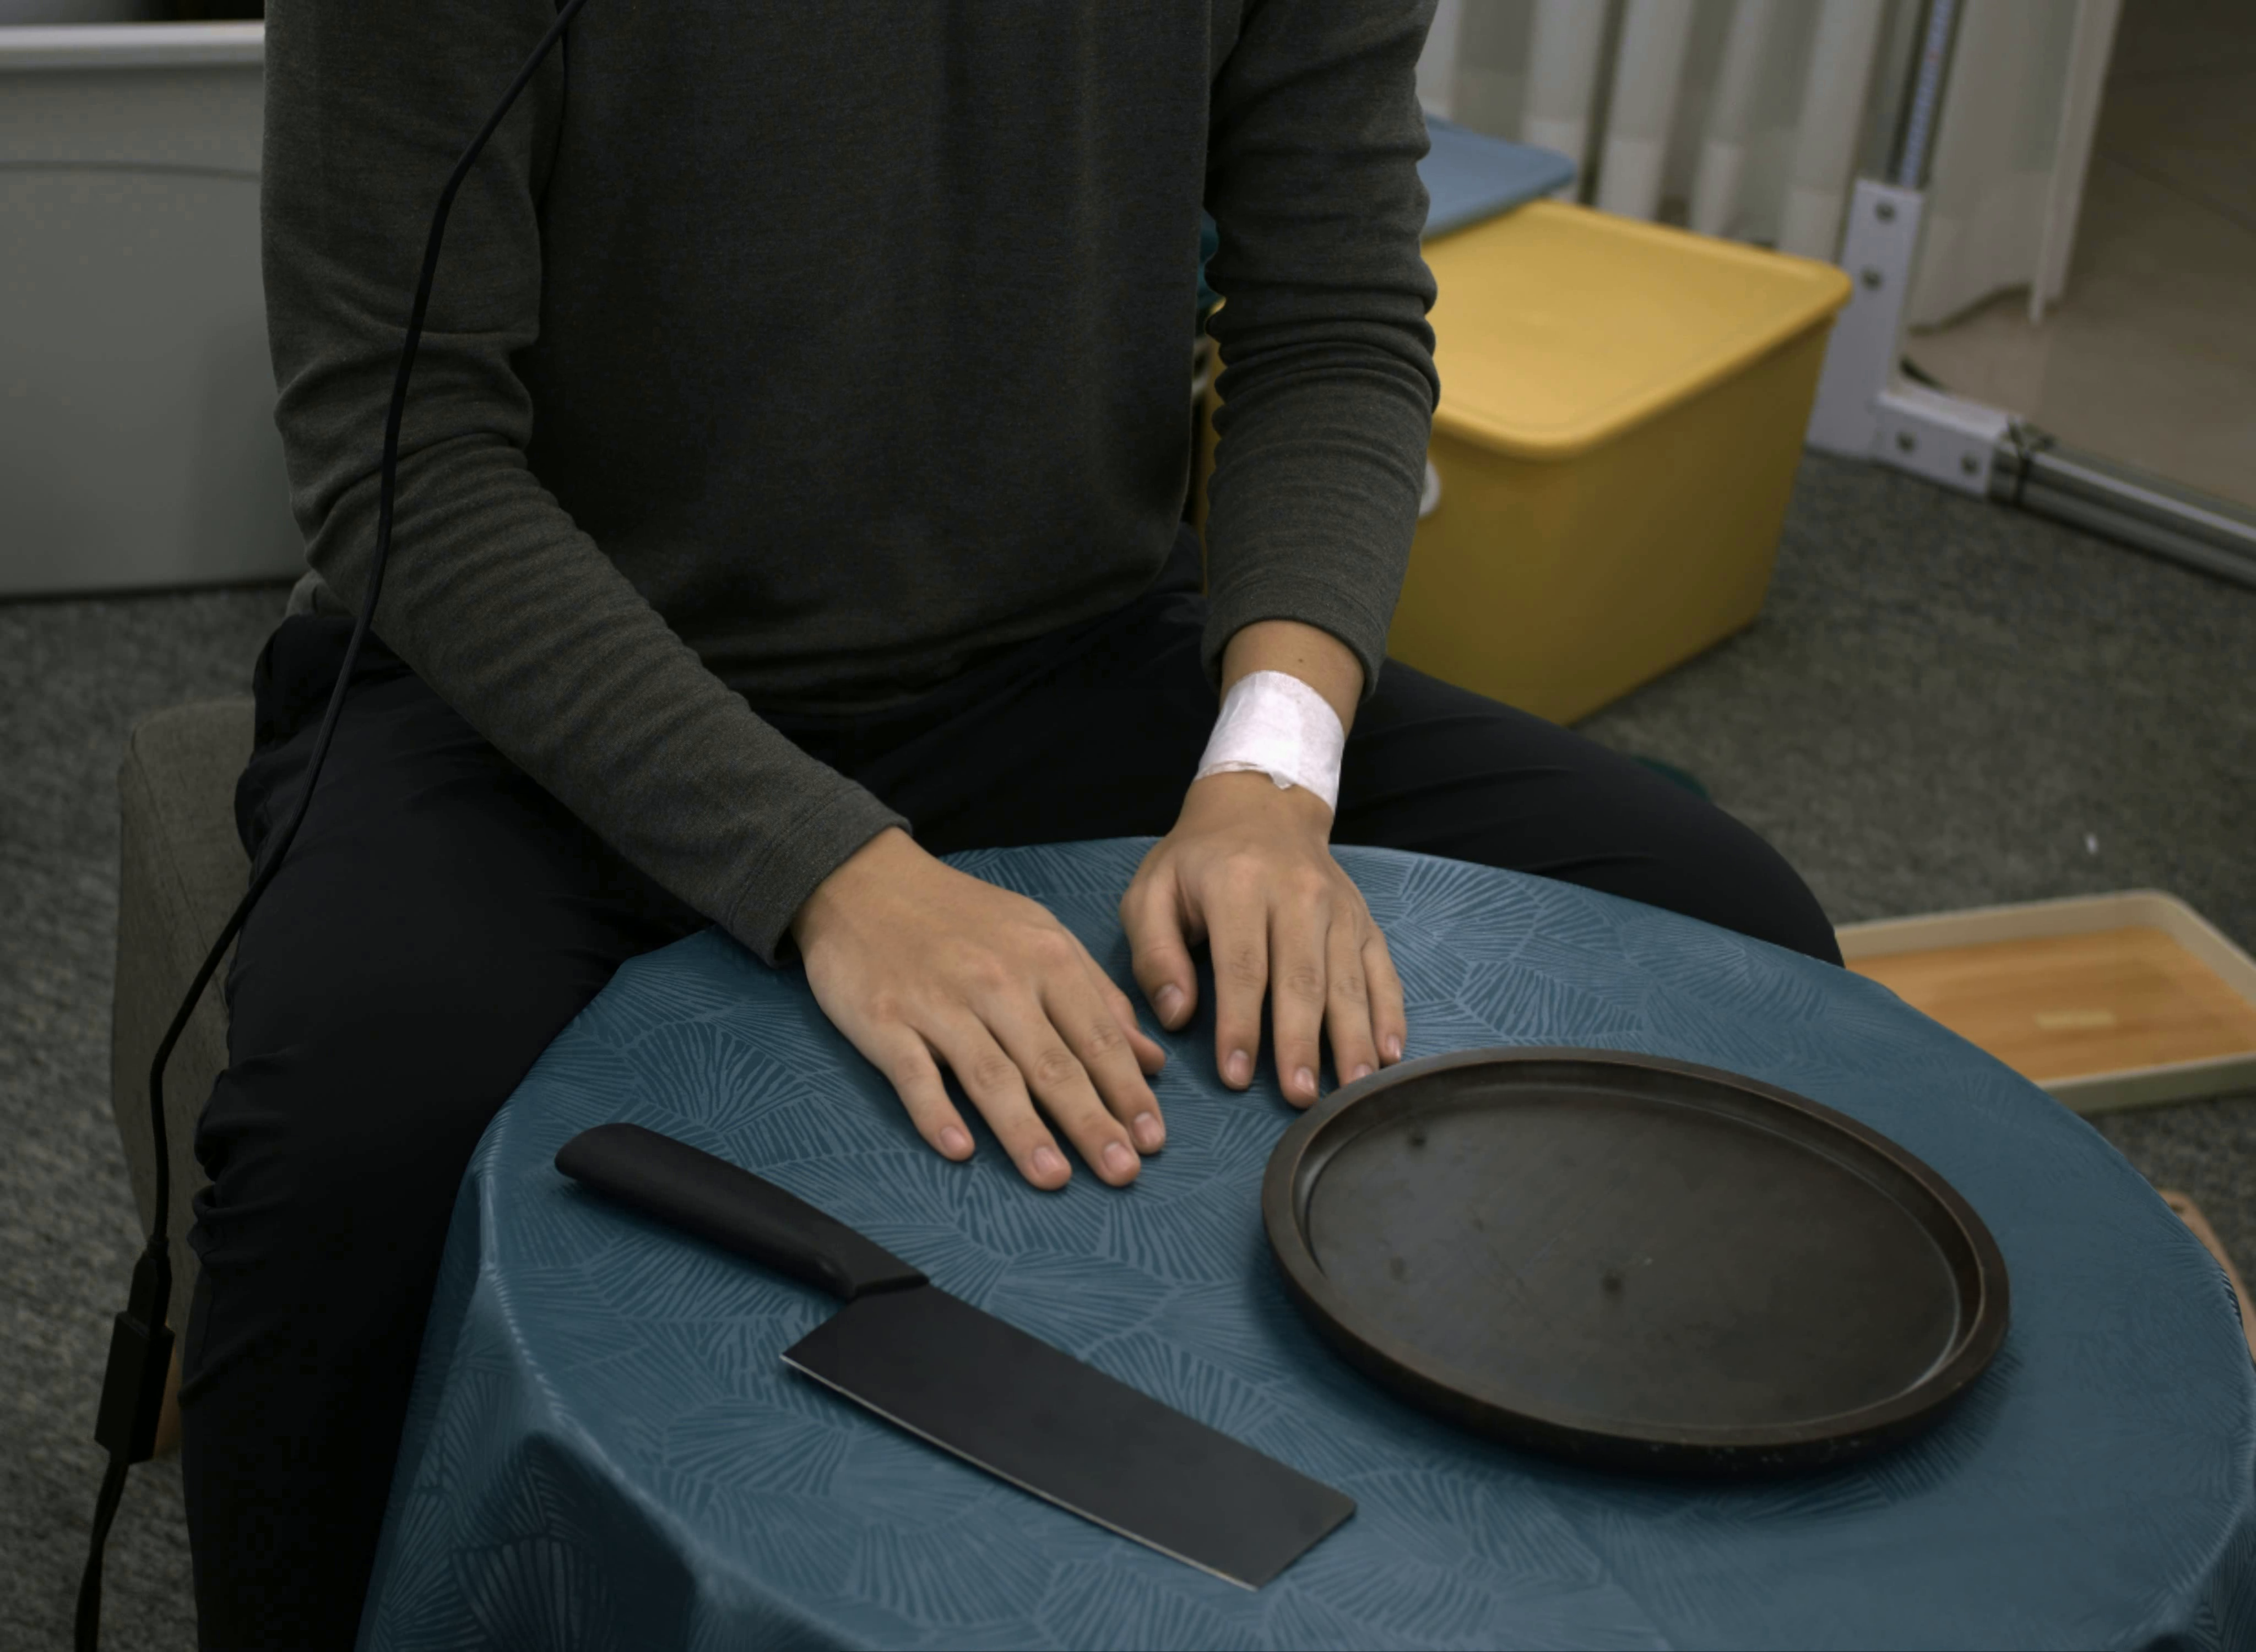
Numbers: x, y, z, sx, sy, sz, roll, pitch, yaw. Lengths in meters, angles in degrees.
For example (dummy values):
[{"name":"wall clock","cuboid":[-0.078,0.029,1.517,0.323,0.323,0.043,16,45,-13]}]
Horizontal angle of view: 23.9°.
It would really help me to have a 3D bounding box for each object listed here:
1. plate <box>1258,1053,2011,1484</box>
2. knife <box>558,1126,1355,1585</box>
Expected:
[{"name":"plate","cuboid":[0.168,0.145,1.776,0.254,0.029,0.256,5,28,-3]},{"name":"knife","cuboid":[-0.065,0.166,1.694,0.304,0.021,0.080,26,34,31]}]
